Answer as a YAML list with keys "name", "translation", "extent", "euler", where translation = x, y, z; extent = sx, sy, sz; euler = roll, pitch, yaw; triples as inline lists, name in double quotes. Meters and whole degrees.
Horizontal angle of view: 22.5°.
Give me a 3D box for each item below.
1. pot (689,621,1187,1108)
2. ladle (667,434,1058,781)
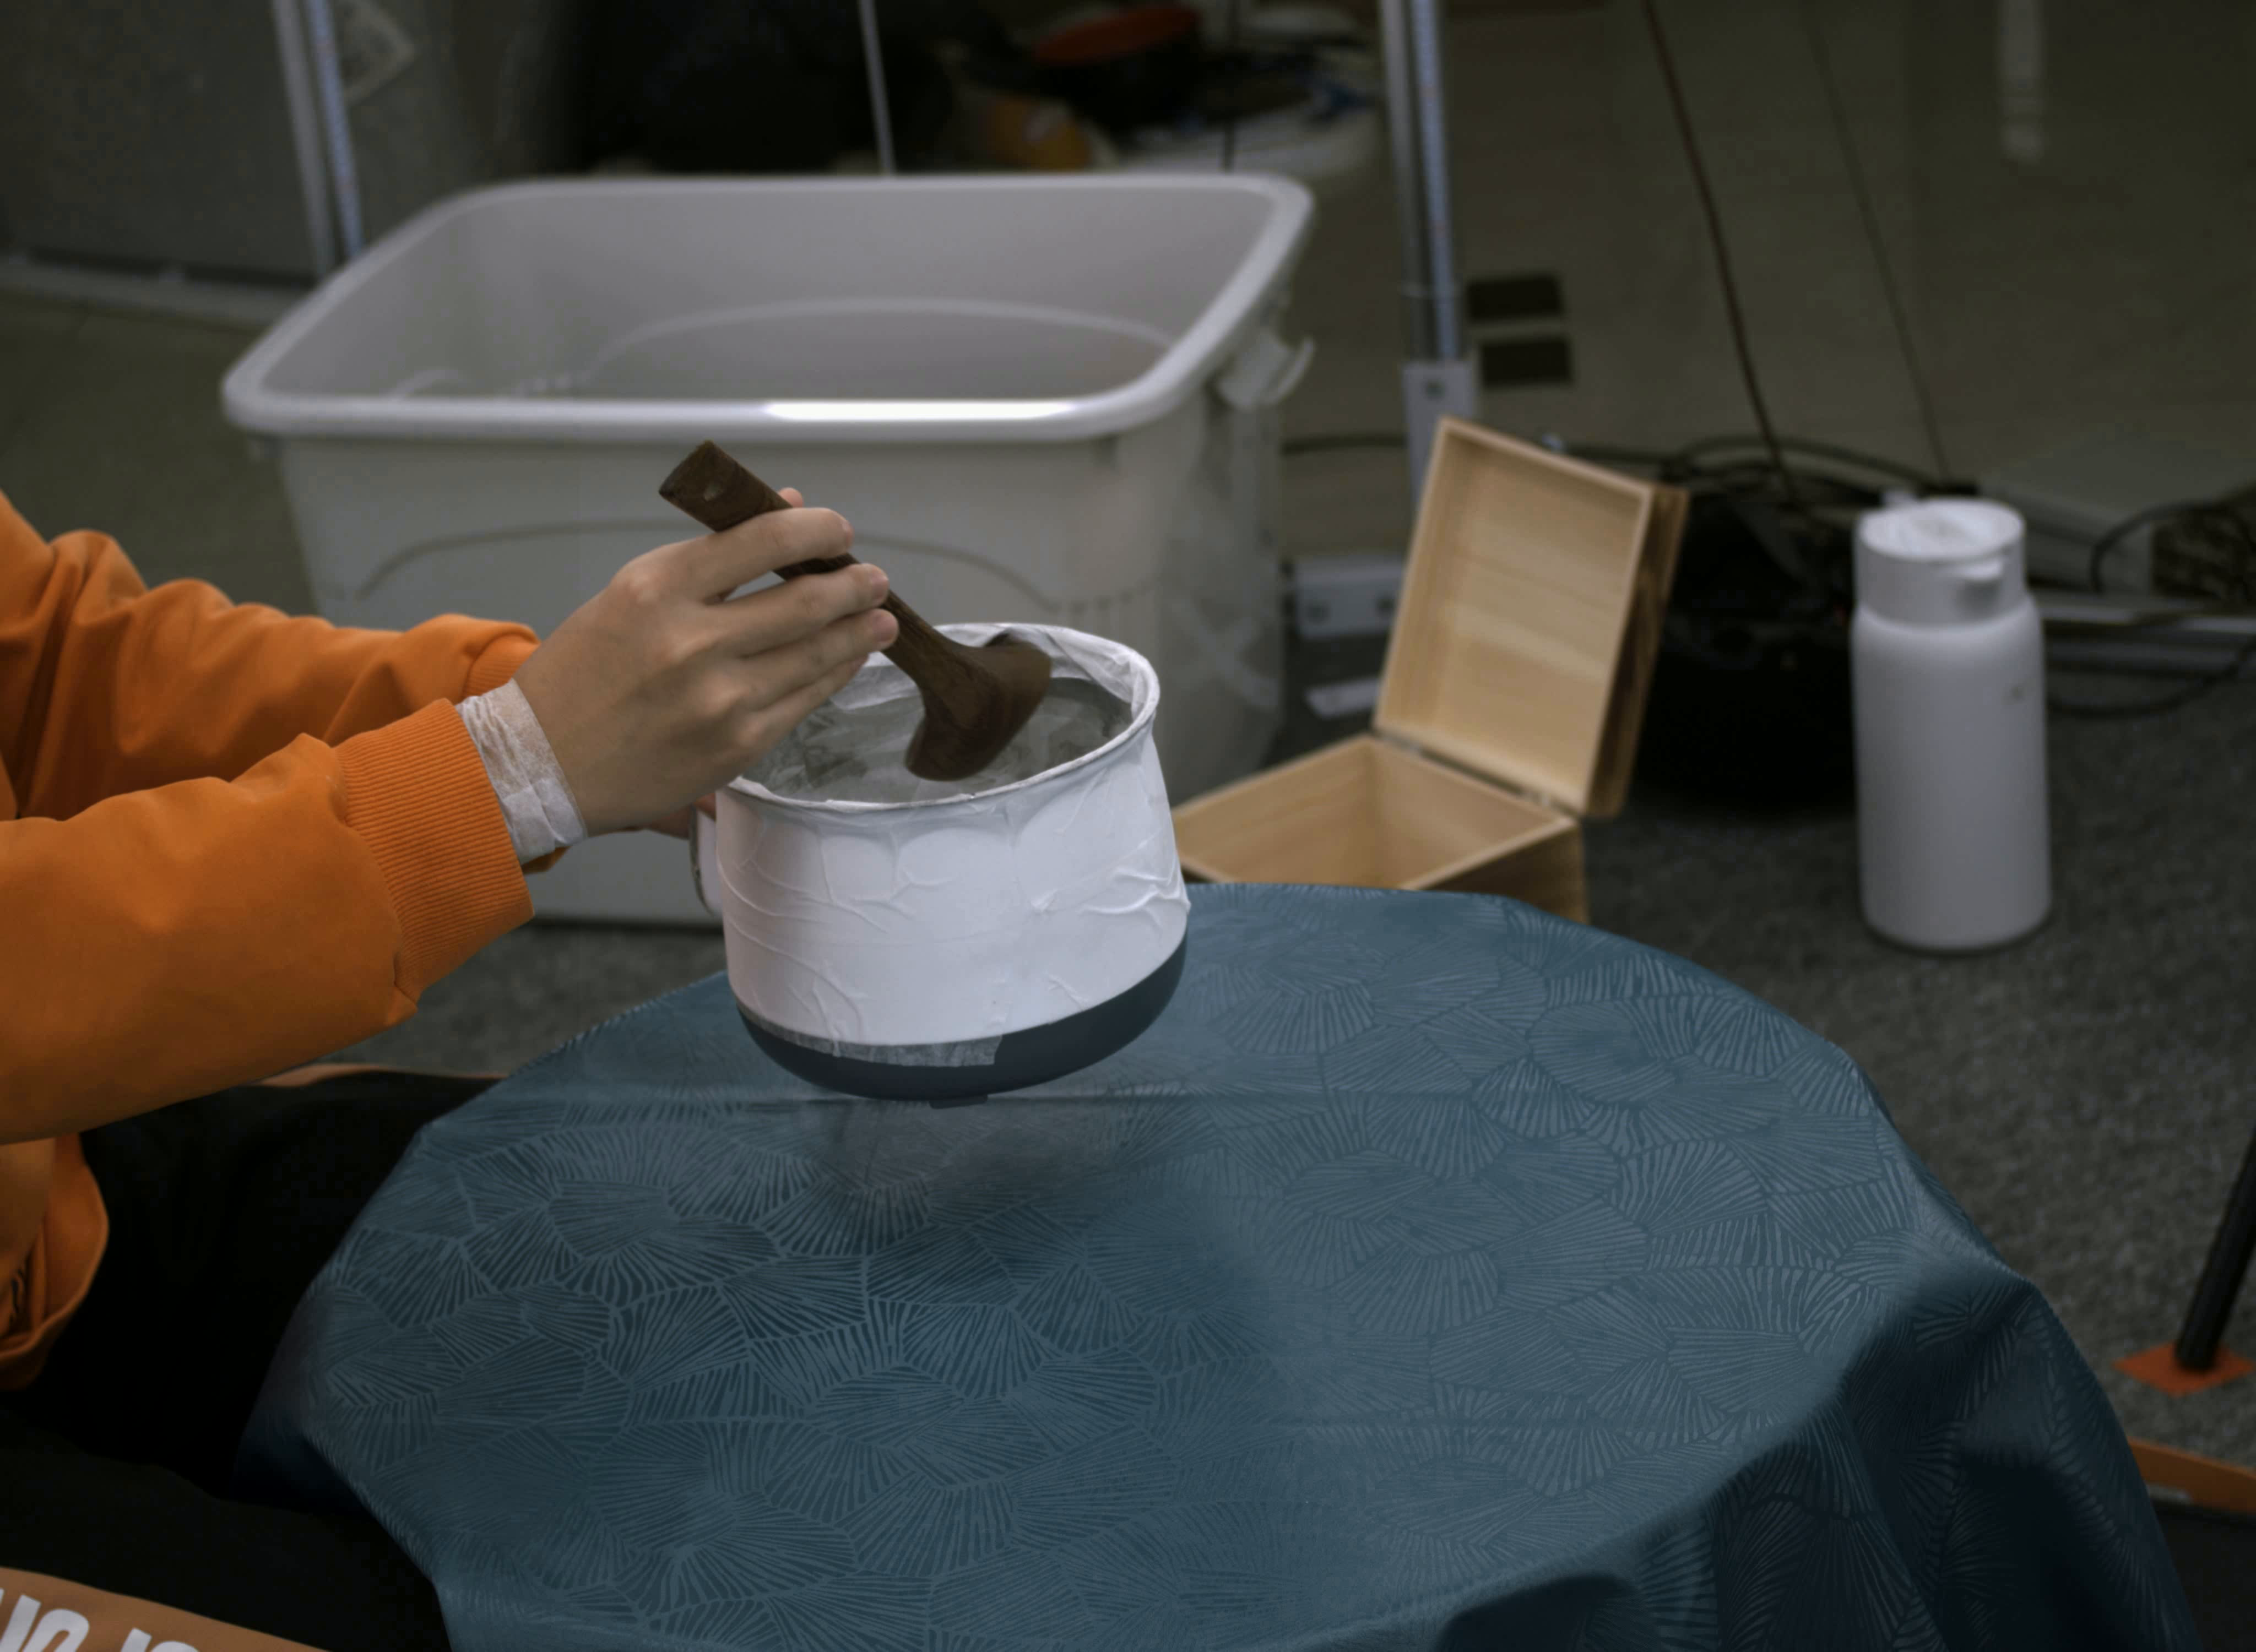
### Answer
- name: "pot"
  translation: [-0.088, 0.009, 2.165]
  extent: [0.232, 0.139, 0.177]
  euler: [17, 33, 42]
- name: "ladle"
  translation: [-0.106, -0.090, 2.055]
  extent: [0.070, 0.277, 0.076]
  euler: [38, 90, 37]
